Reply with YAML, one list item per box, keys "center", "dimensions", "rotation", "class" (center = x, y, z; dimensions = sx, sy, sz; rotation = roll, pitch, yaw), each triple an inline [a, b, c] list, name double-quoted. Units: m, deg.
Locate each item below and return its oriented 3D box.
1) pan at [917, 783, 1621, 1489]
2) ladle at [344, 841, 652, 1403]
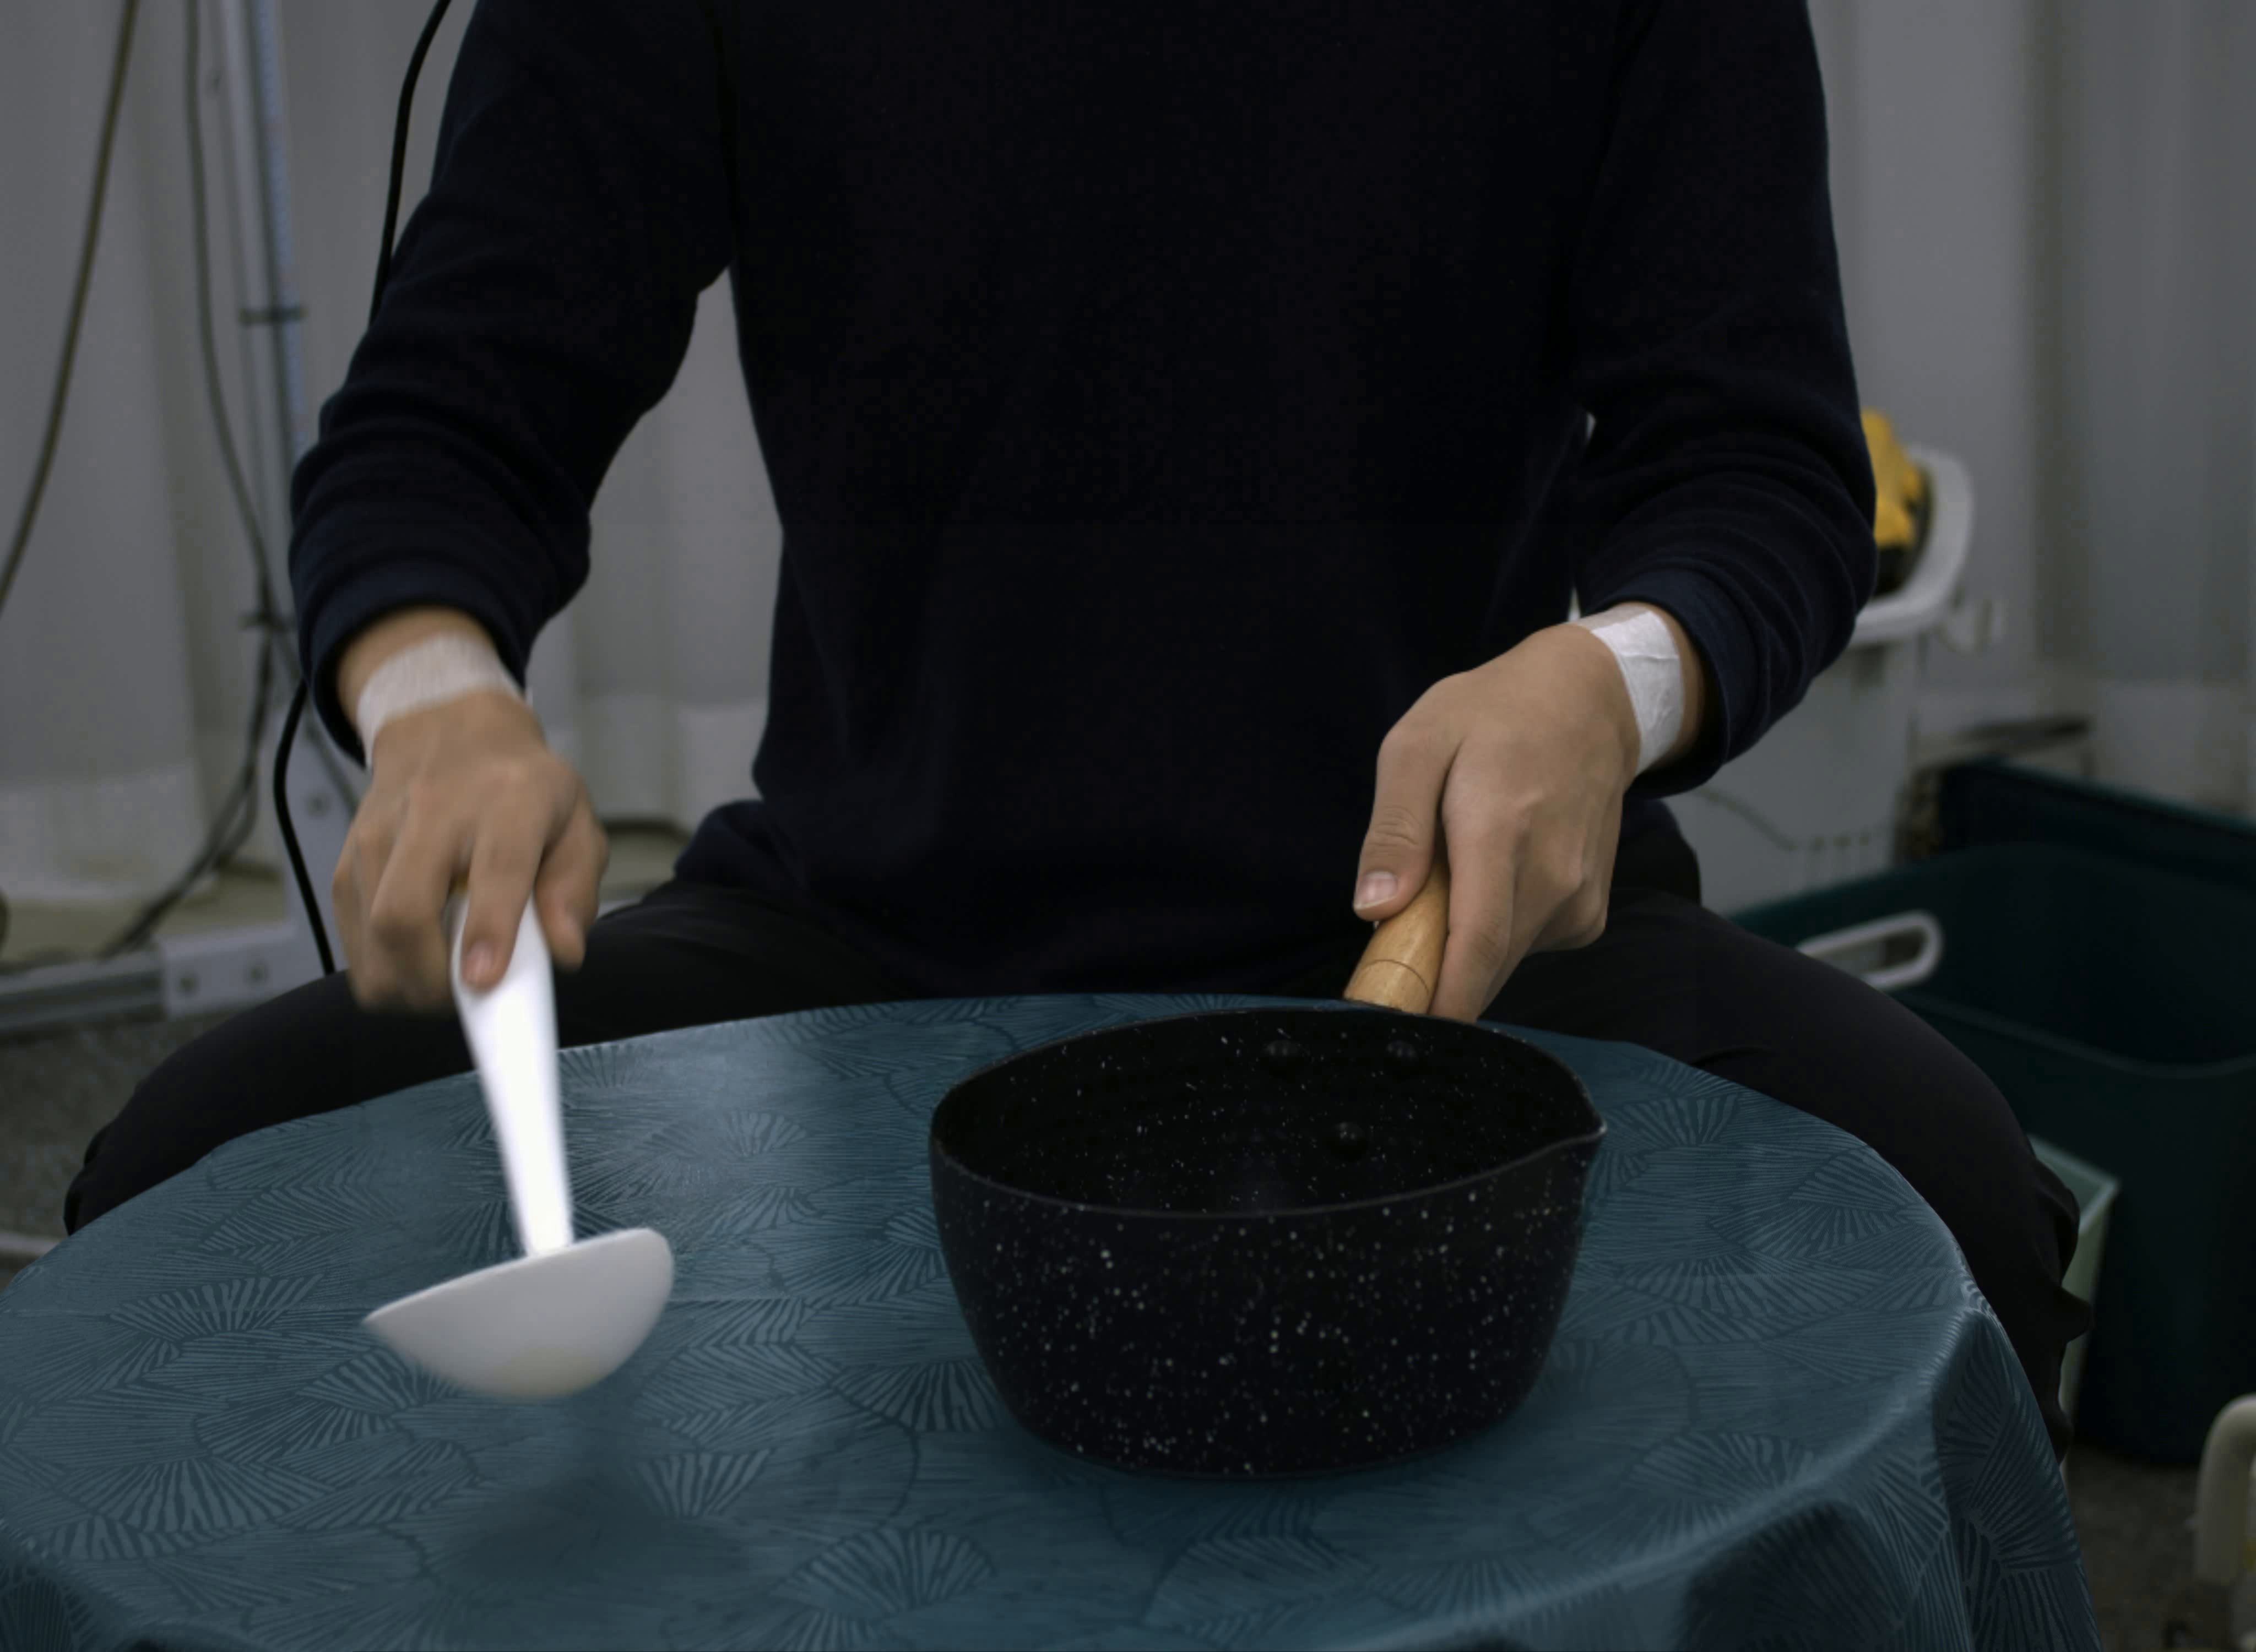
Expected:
- center: [0.060, 0.085, 1.605]
  dimensions: [0.207, 0.108, 0.344]
  rotation: [1, 17, 17]
  class: "pan"
- center: [-0.182, 0.072, 1.557]
  dimensions: [0.090, 0.069, 0.297]
  rotation: [-25, 30, 3]
  class: "ladle"
